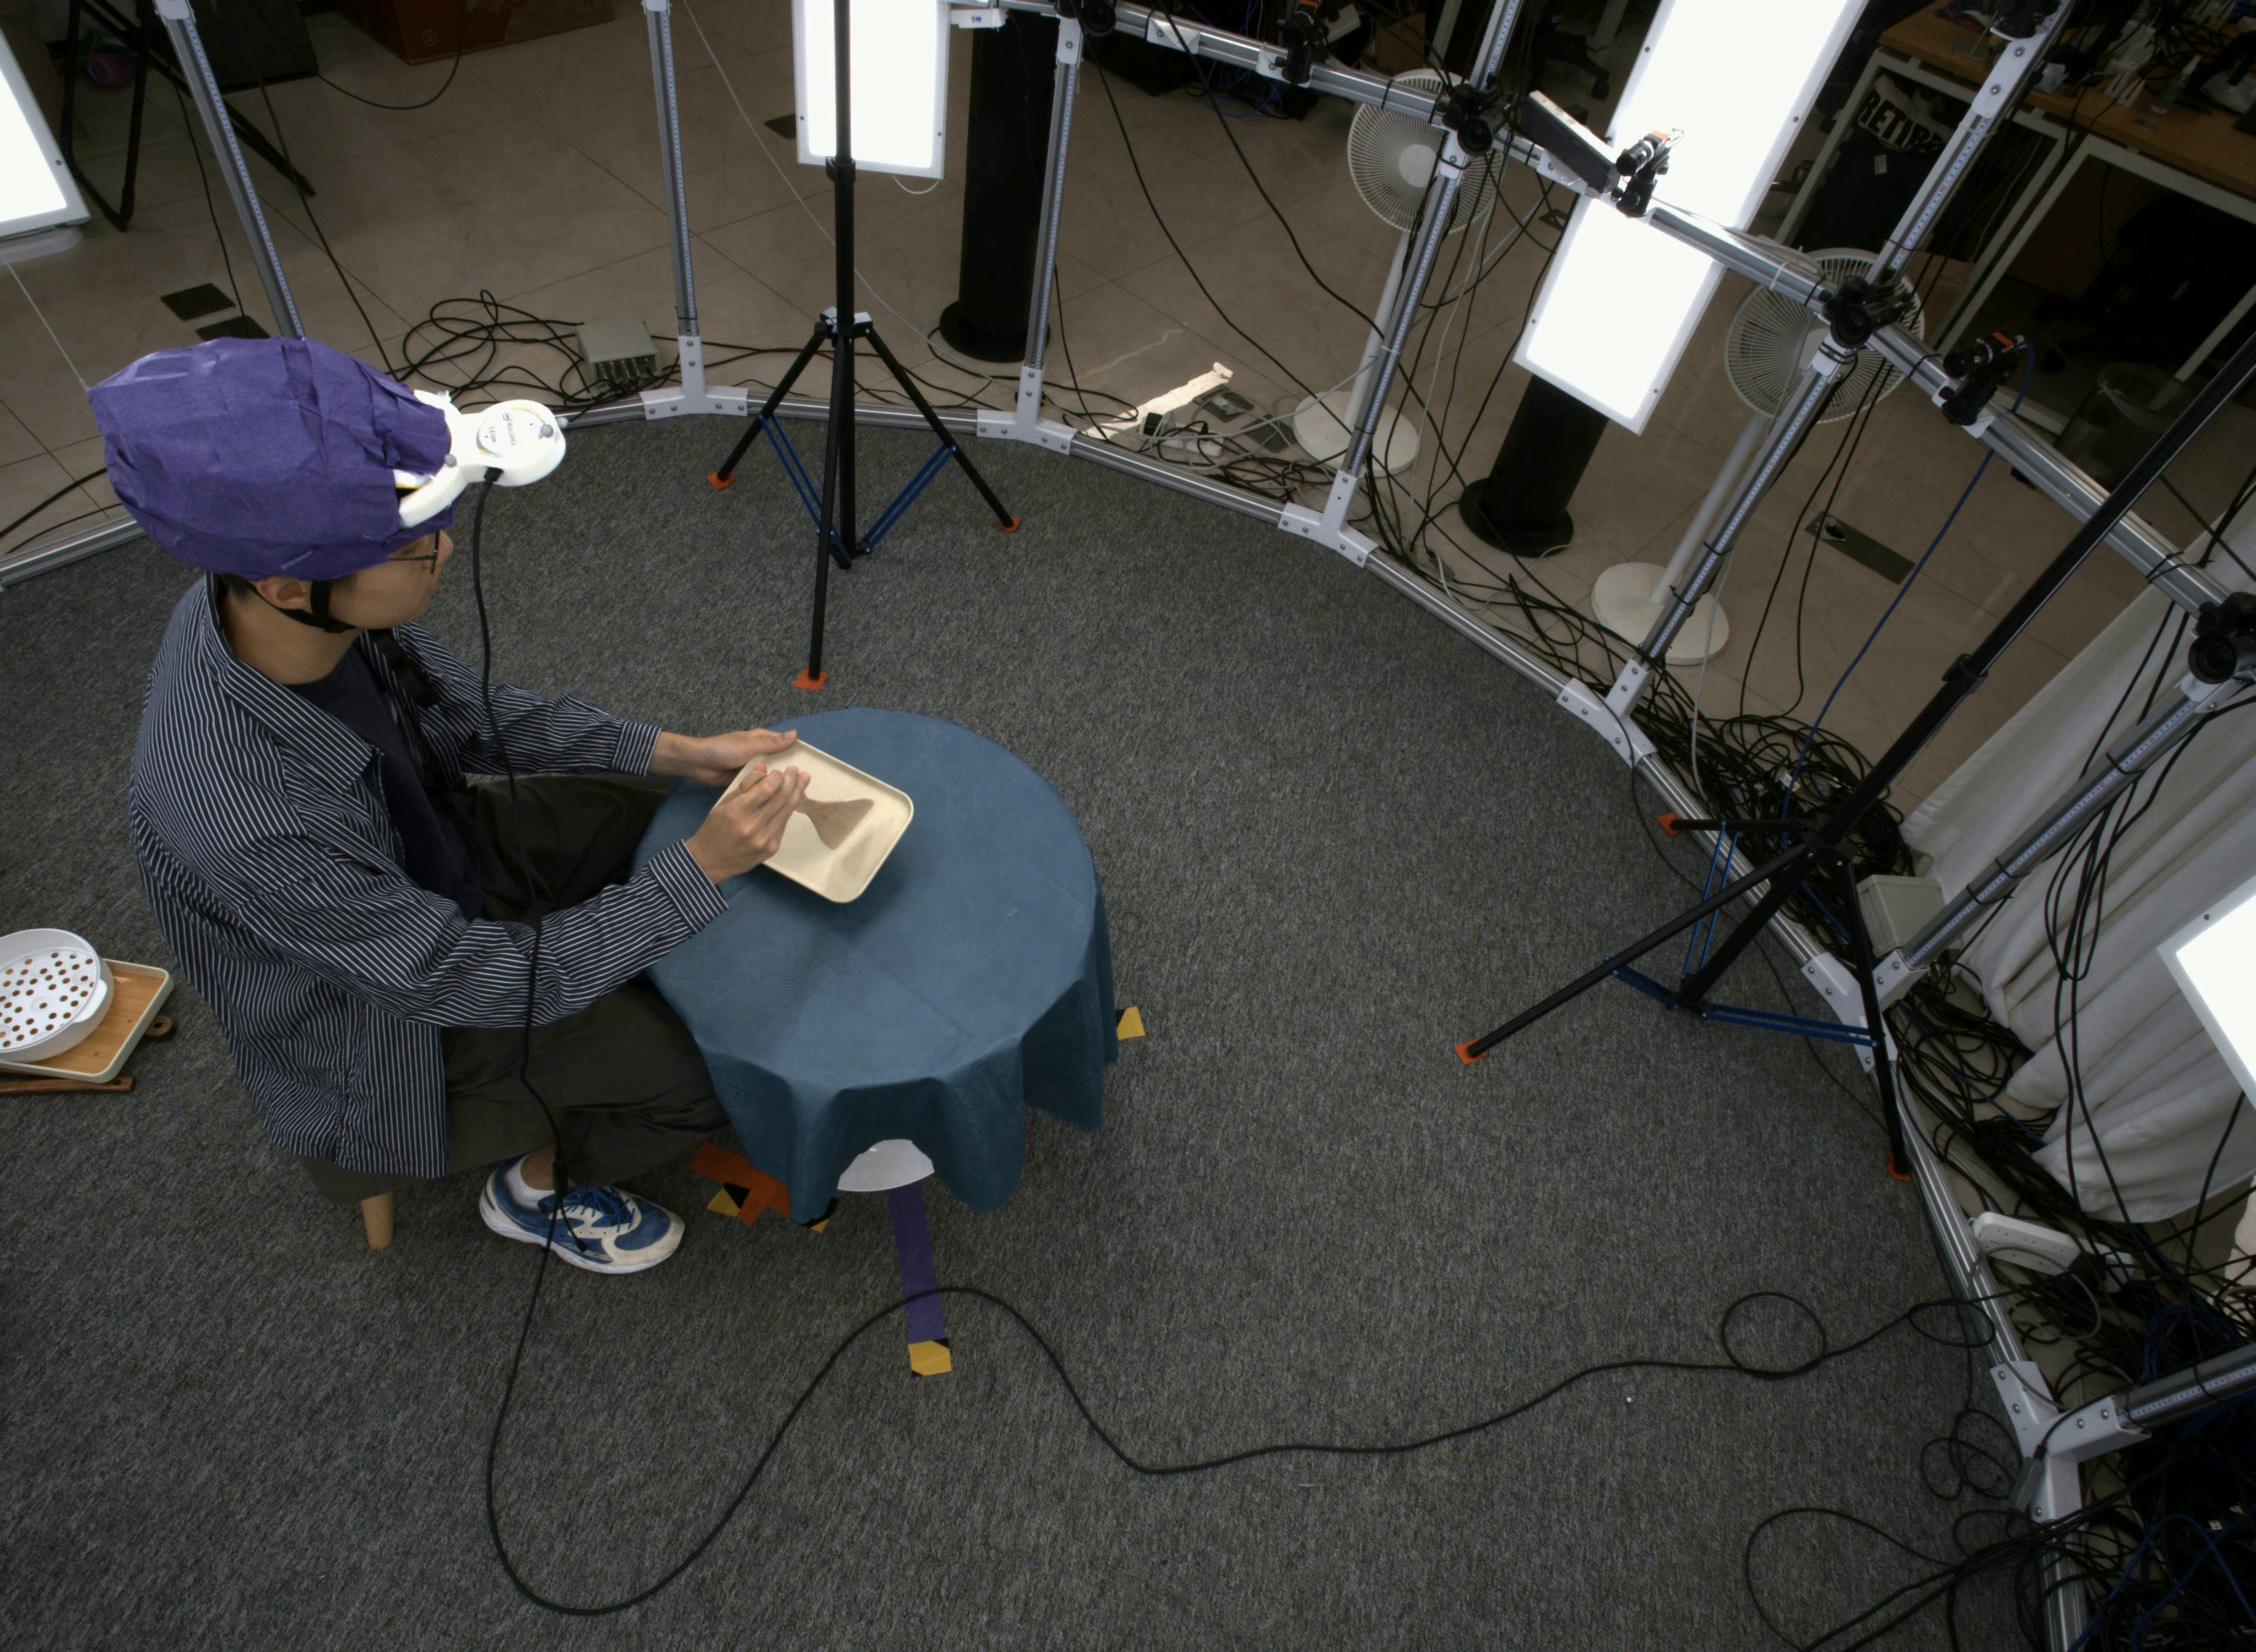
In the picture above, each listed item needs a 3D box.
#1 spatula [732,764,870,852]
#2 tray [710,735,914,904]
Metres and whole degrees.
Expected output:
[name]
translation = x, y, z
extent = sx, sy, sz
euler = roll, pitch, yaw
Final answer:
[spatula]
translation = -0.377, -0.026, 1.495
extent = 0.016, 0.333, 0.080
euler = 37, 88, 15
[tray]
translation = -0.408, -0.011, 1.677
extent = 0.235, 0.018, 0.171
euler = 27, 69, 11
